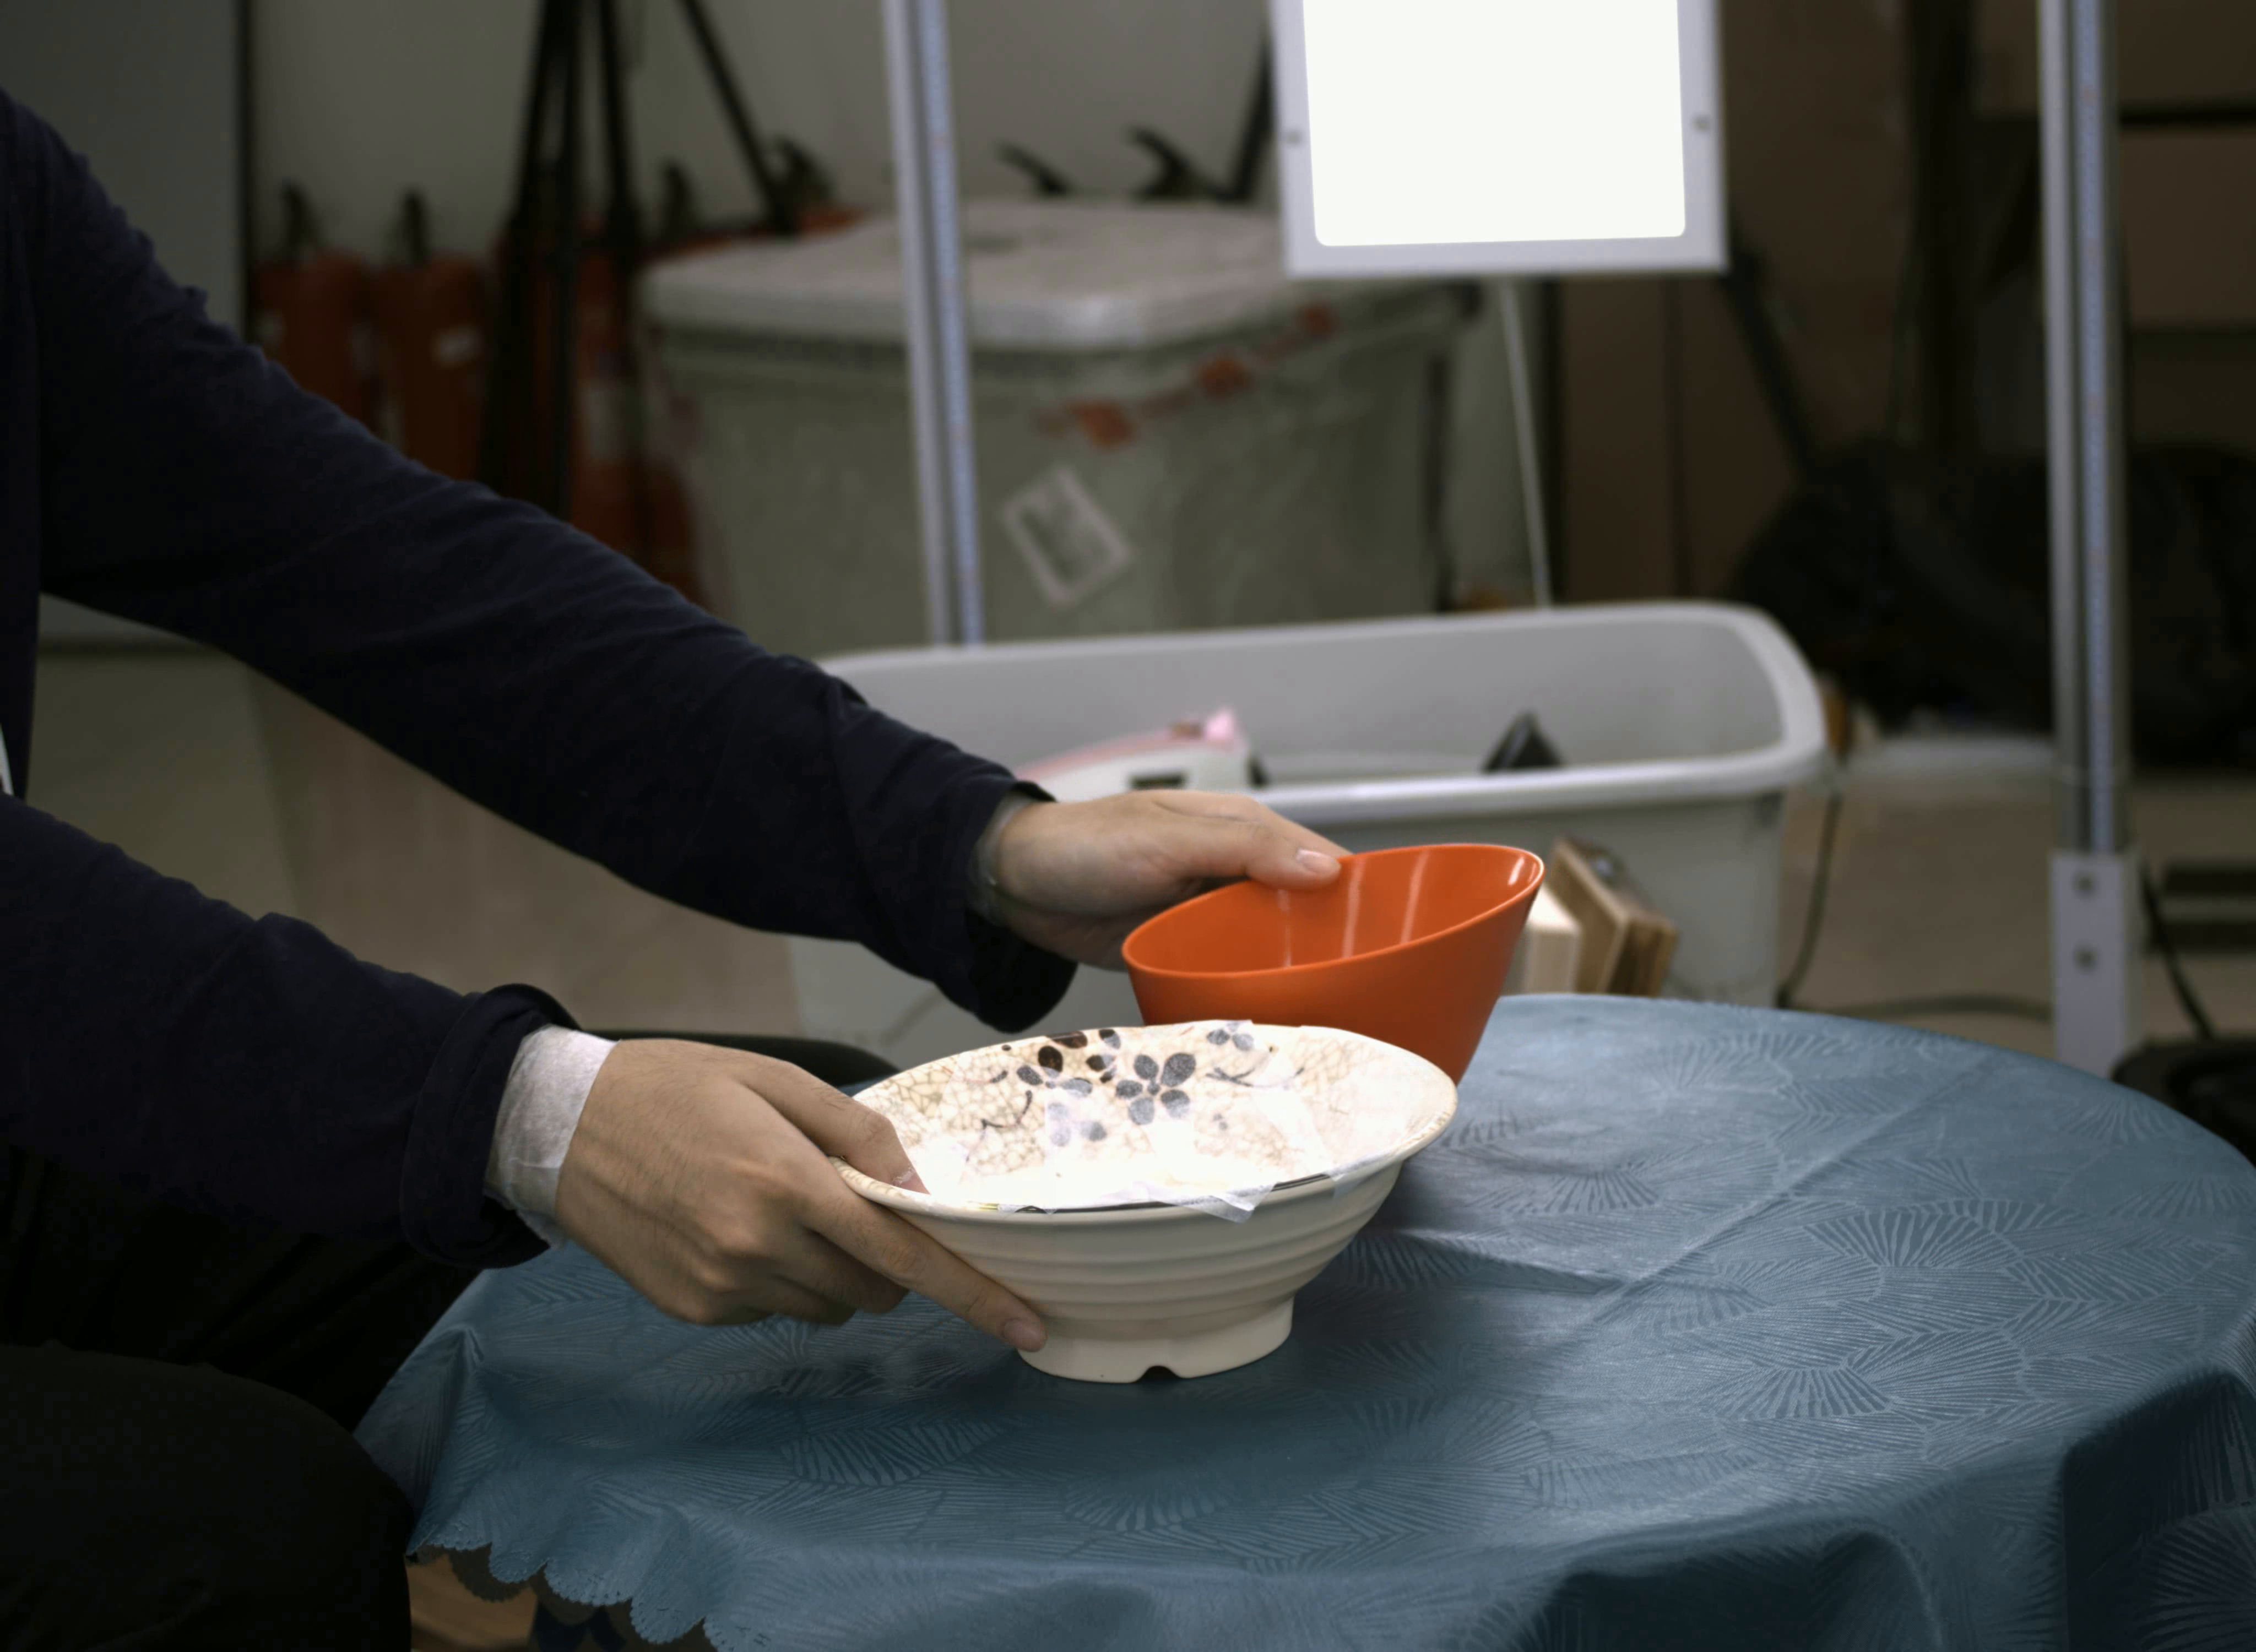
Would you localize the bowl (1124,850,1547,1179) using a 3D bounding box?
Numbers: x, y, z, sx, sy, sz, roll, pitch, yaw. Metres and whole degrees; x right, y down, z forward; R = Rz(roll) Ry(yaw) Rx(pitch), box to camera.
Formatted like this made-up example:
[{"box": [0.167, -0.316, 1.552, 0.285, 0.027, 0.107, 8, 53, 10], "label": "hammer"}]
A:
[{"box": [0.073, 0.069, 1.898, 0.147, 0.105, 0.148, -4, 13, 0], "label": "bowl"}]

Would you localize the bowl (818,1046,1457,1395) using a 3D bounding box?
[{"box": [0.008, 0.130, 1.738, 0.203, 0.078, 0.204, -8, 10, 0], "label": "bowl"}]
